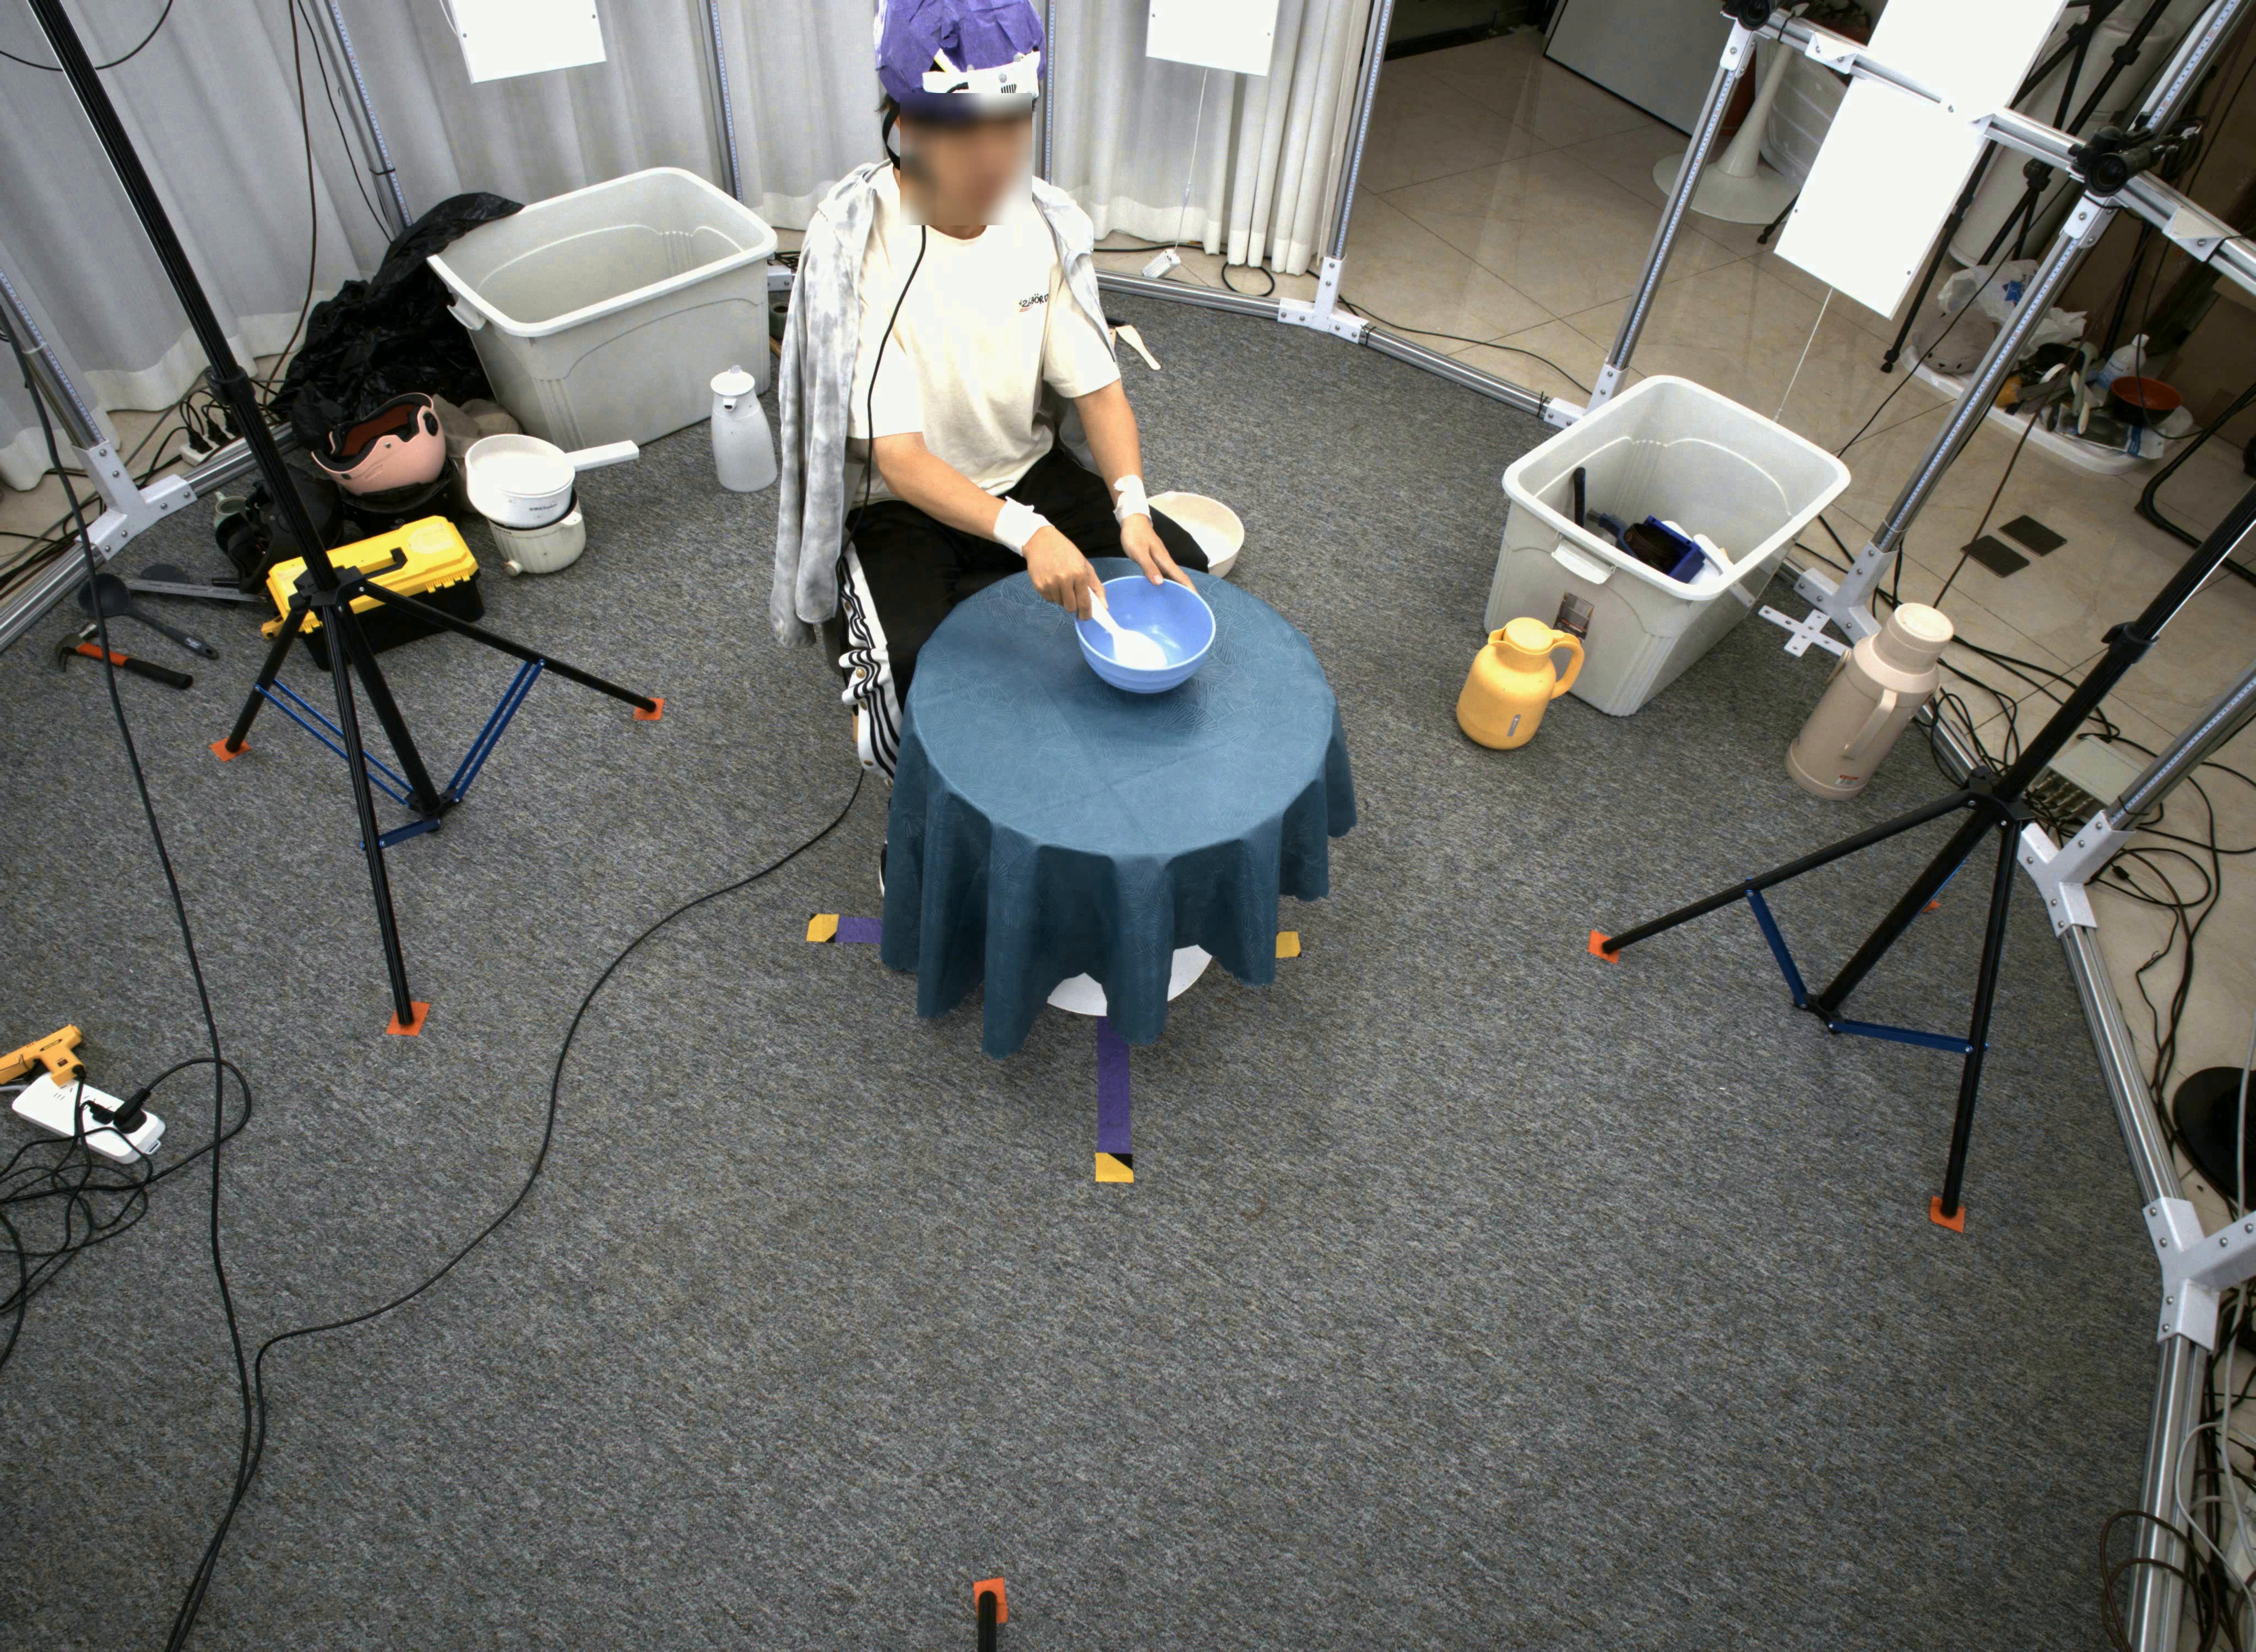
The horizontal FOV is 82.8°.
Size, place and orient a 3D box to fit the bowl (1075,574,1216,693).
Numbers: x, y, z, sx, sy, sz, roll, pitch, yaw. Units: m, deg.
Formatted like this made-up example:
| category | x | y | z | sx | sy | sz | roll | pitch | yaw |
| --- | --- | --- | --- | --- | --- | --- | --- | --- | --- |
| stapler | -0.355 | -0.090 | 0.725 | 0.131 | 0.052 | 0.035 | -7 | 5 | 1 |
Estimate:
| category | x | y | z | sx | sy | sz | roll | pitch | yaw |
| --- | --- | --- | --- | --- | --- | --- | --- | --- | --- |
| bowl | 0.022 | -0.258 | 1.824 | 0.196 | 0.093 | 0.201 | 2 | 51 | -3 |

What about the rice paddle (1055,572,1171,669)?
| category | x | y | z | sx | sy | sz | roll | pitch | yaw |
| --- | --- | --- | --- | --- | --- | --- | --- | --- | --- |
| rice paddle | -0.015 | -0.276 | 1.802 | 0.203 | 0.029 | 0.070 | 41 | 57 | -12 |
